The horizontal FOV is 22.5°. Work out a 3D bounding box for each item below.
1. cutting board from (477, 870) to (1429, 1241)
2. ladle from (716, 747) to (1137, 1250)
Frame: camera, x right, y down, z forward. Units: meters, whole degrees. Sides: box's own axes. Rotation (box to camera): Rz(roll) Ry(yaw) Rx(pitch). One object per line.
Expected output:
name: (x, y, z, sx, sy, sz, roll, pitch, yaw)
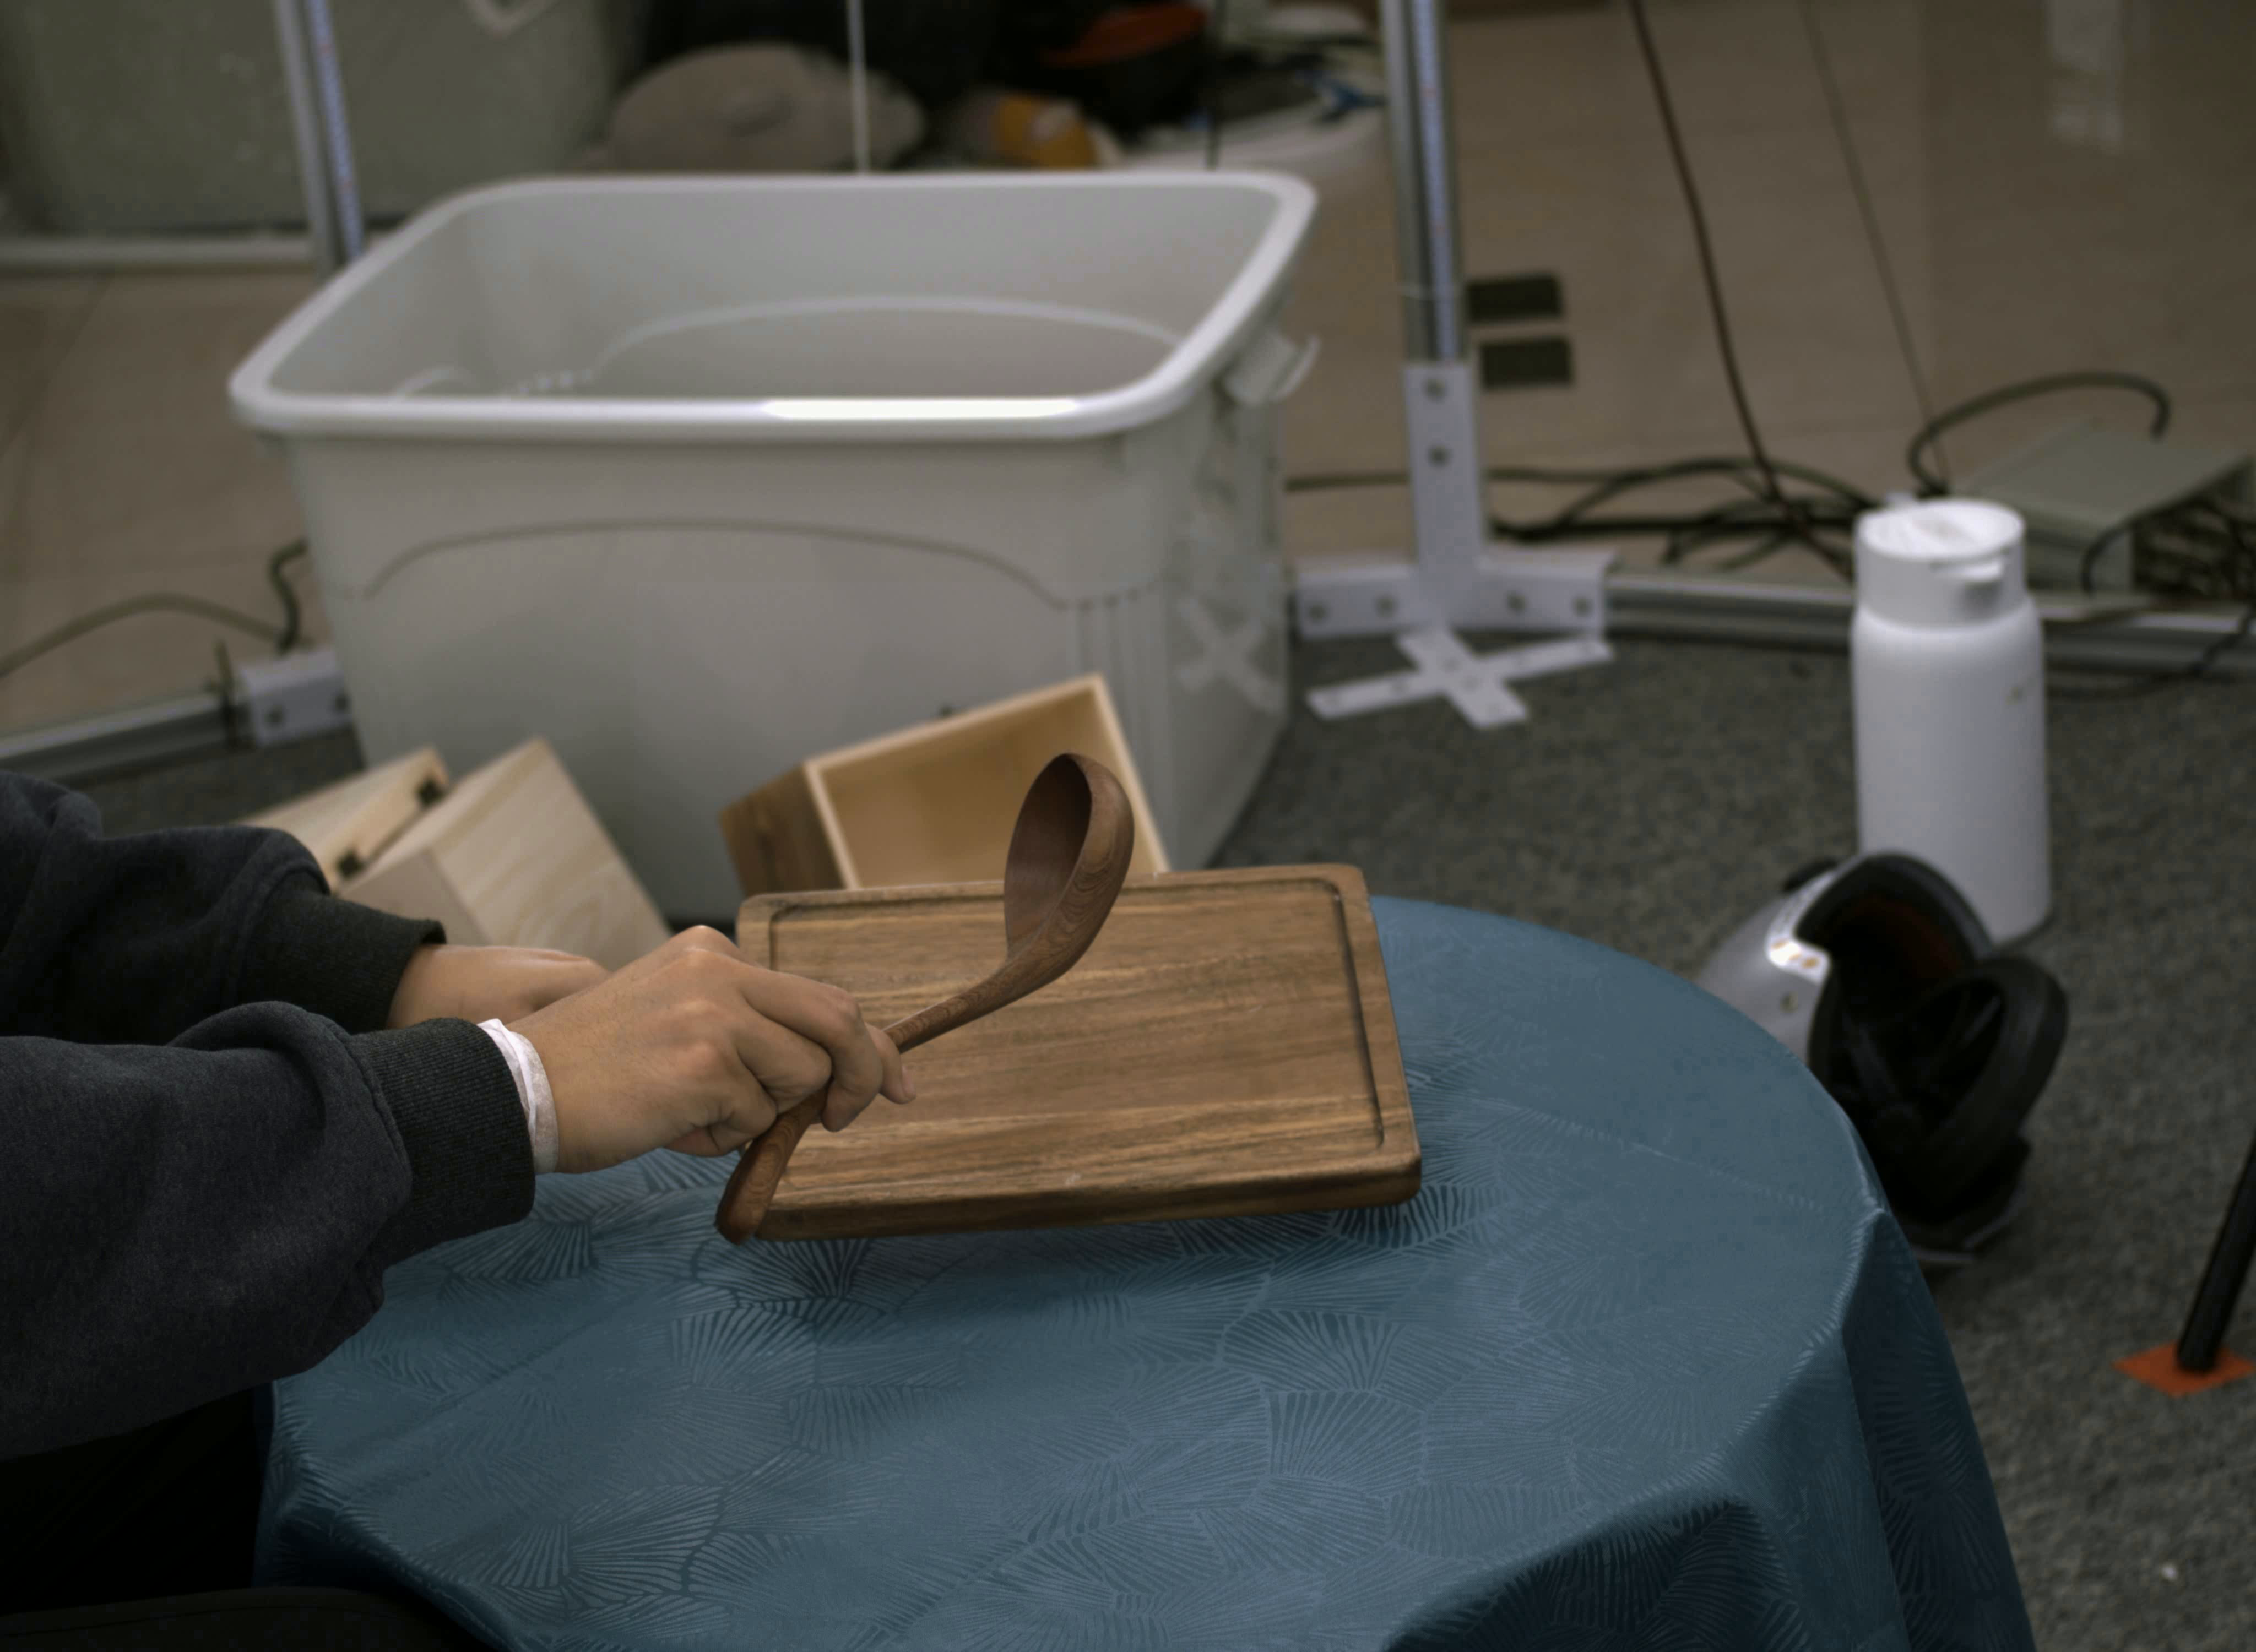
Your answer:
cutting board: (-0.071, 0.087, 2.155, 0.351, 0.023, 0.197, -3, 35, -4)
ladle: (-0.078, 0.058, 1.983, 0.065, 0.077, 0.257, 44, 49, 6)
